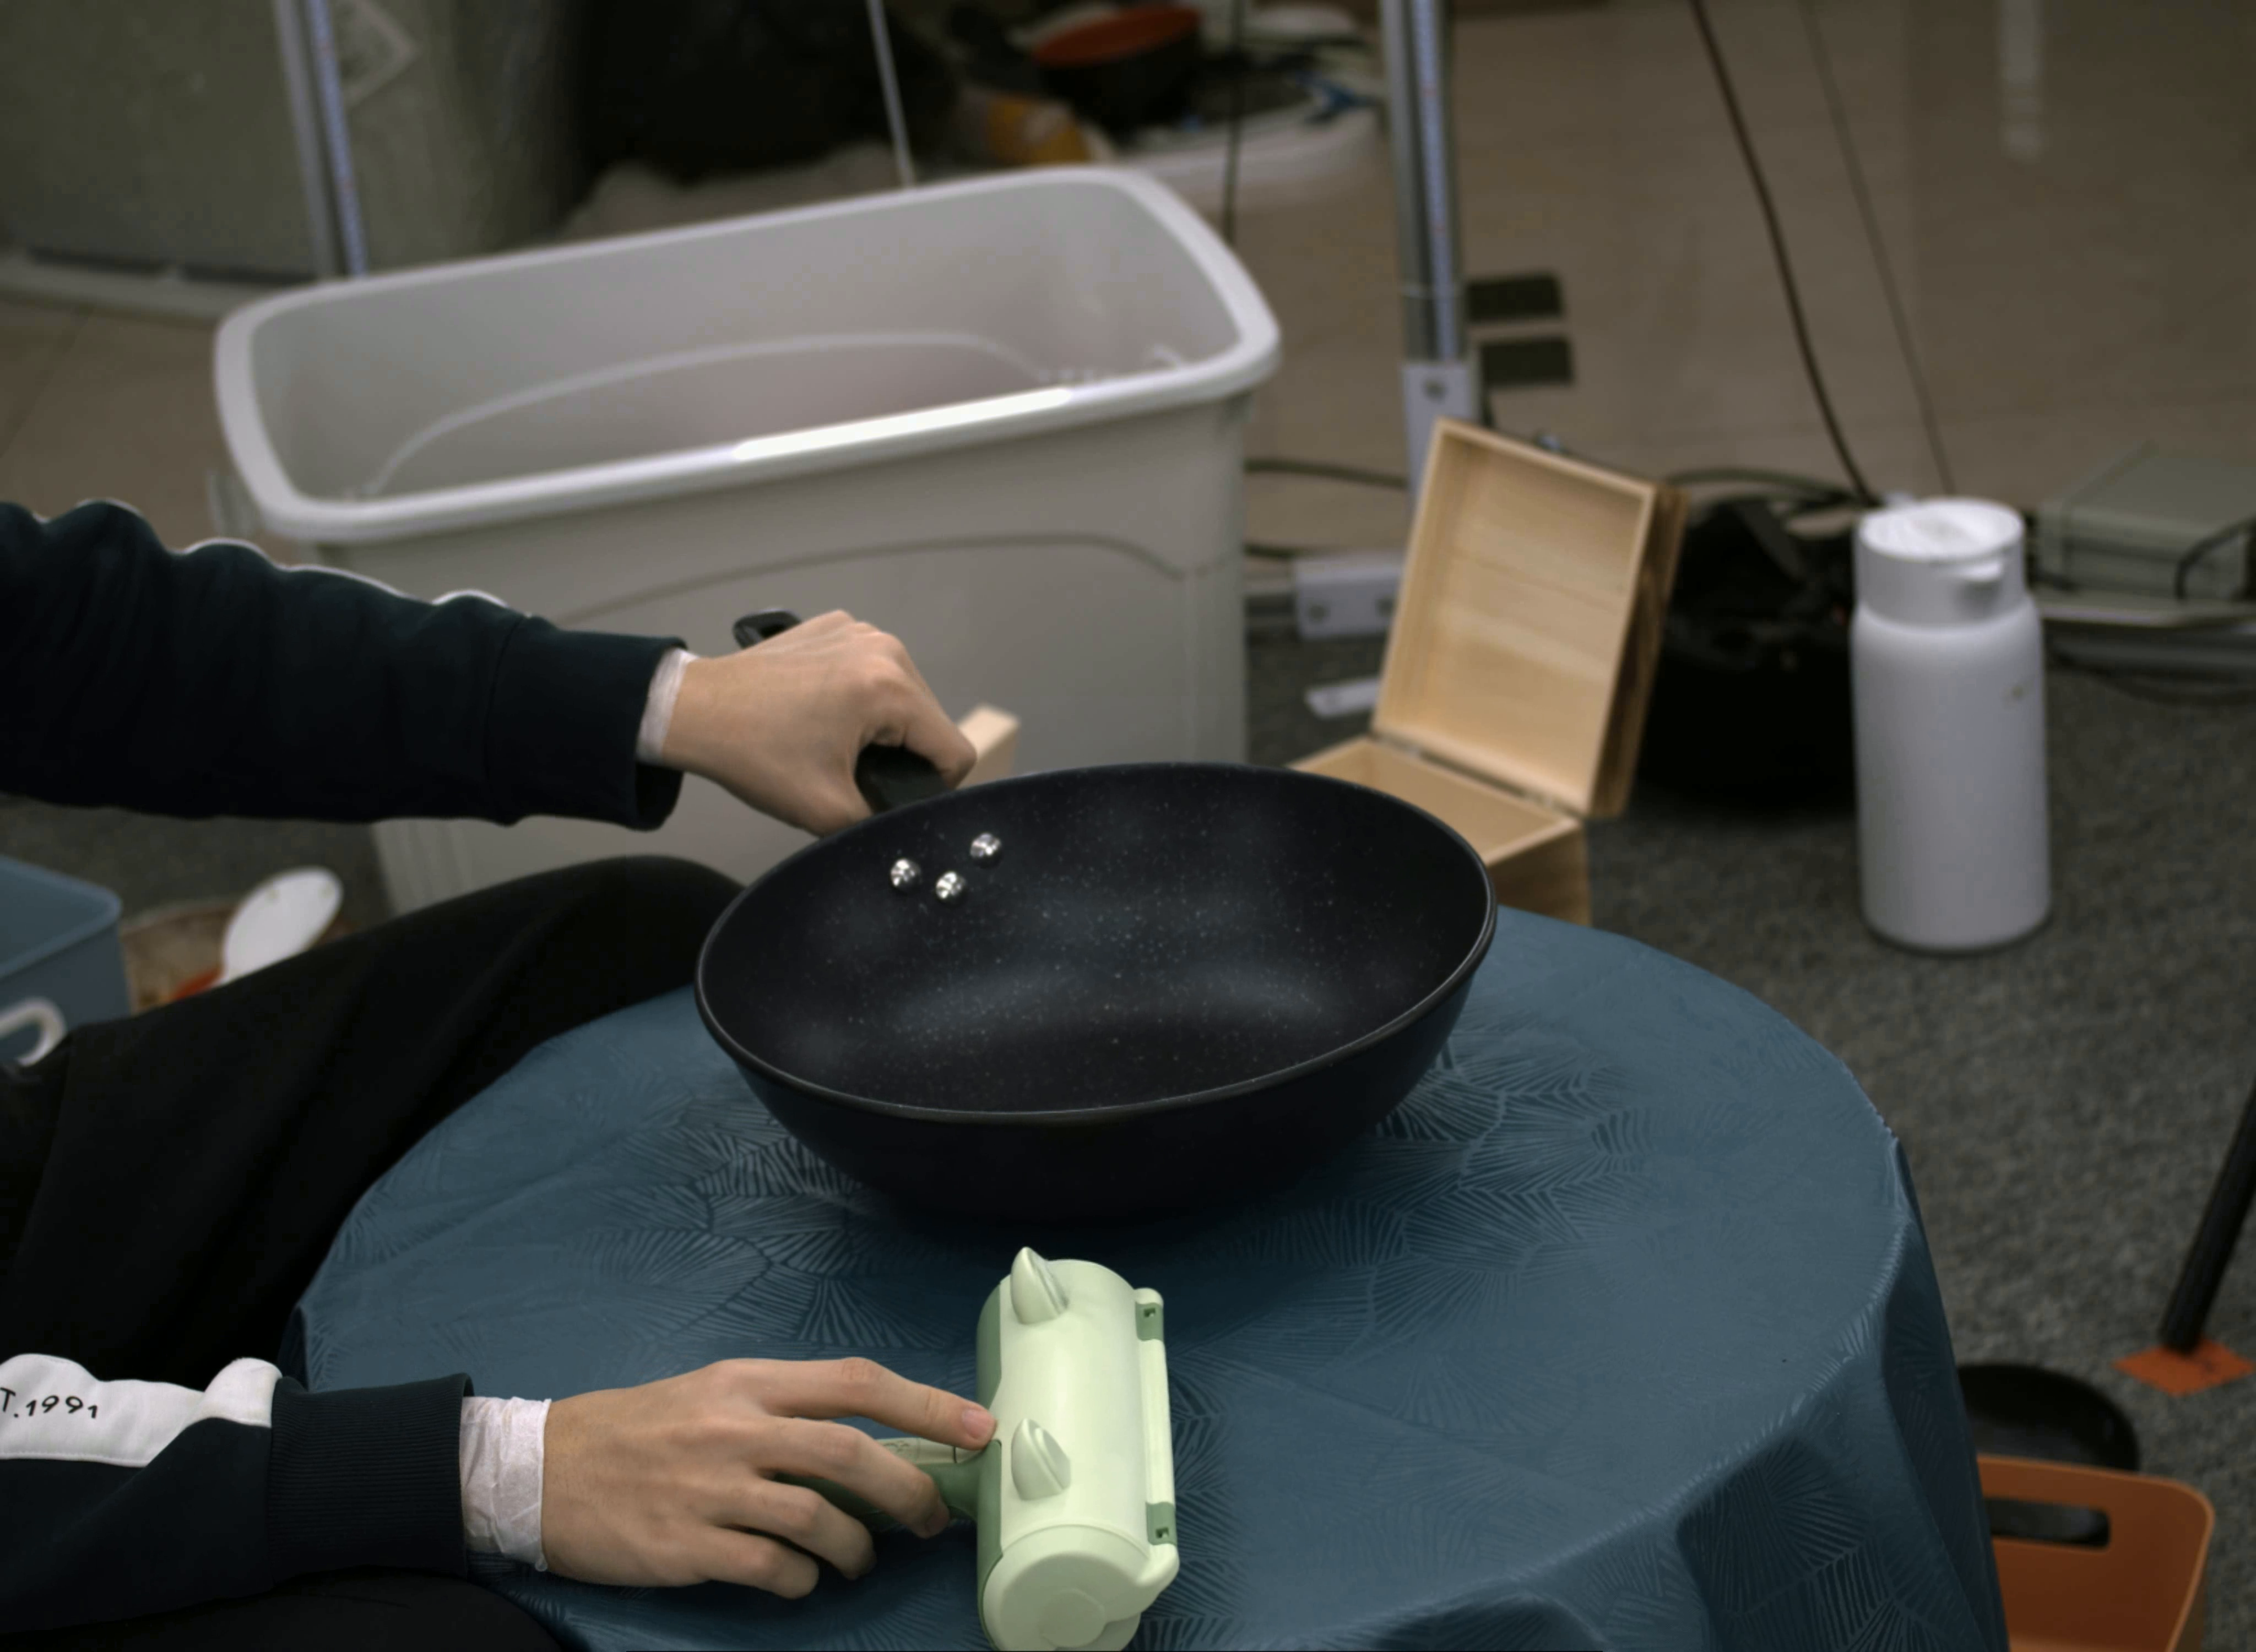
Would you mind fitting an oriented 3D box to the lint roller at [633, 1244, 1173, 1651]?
[{"bbox_3d":[-0.078,0.208,1.925,0.183,0.083,0.195,-1,25,-1],"label":"lint roller"}]

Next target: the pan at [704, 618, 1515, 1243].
[{"bbox_3d":[-0.044,0.042,2.235,0.309,0.113,0.471,-16,27,-23],"label":"pan"}]
